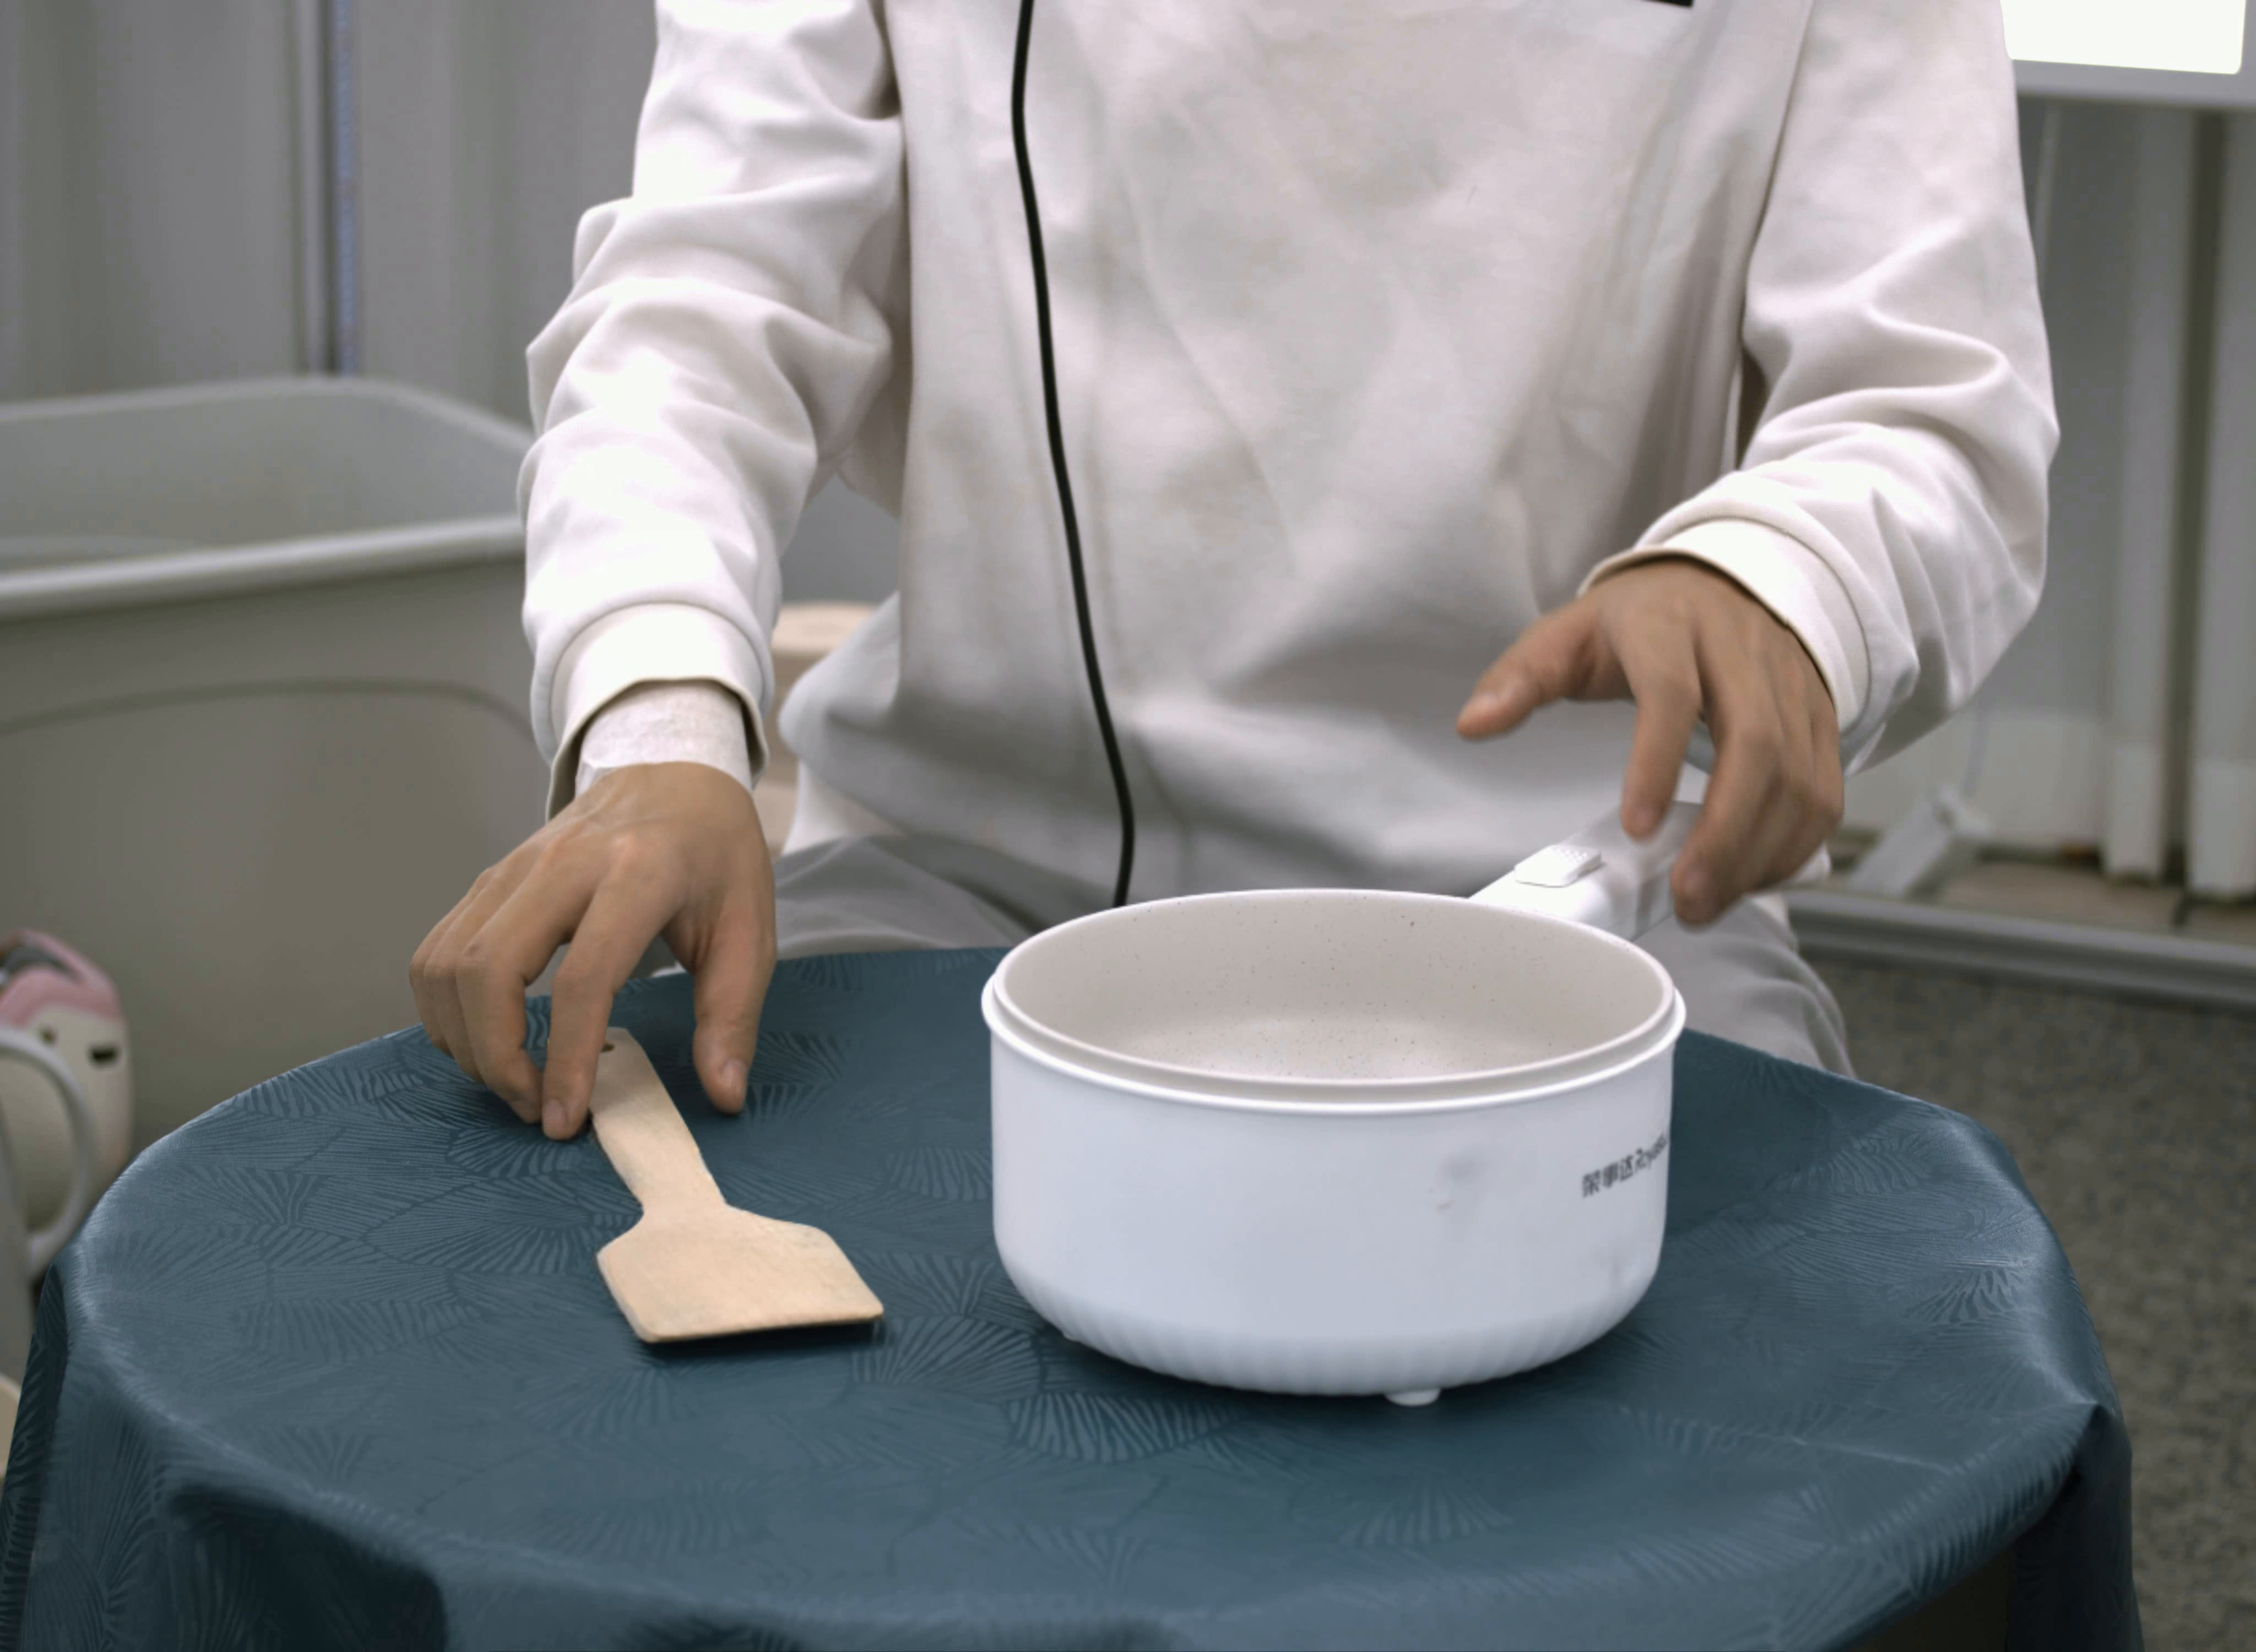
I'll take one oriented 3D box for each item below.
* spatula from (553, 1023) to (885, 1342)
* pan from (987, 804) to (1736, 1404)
[{"bbox_3d":[-0.142,0.107,1.626,0.072,0.011,0.290,-5,16,-15],"label":"spatula"},{"bbox_3d":[0.095,0.076,1.582,0.199,0.103,0.356,8,16,27],"label":"pan"}]
